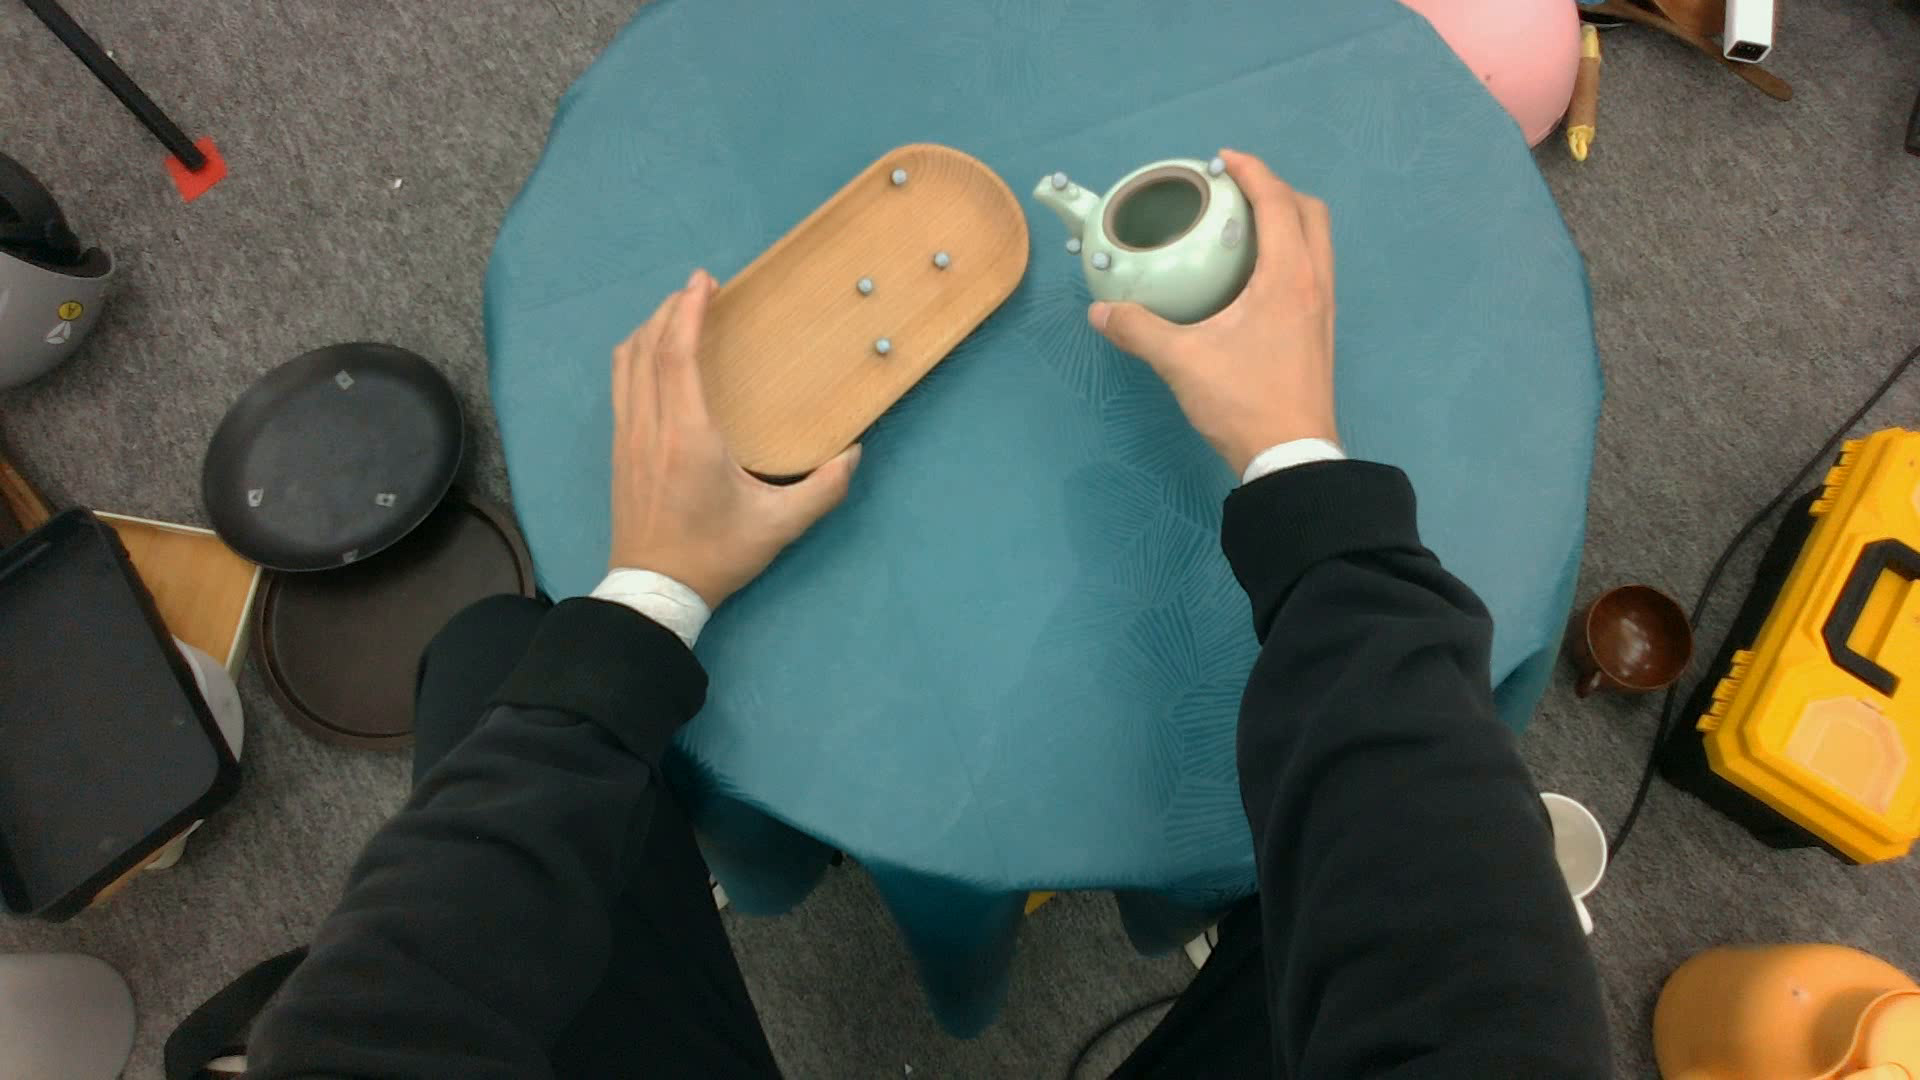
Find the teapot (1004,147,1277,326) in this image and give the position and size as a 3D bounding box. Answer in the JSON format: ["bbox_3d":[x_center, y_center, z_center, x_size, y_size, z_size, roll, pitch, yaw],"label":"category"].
[{"bbox_3d":[0.091,-0.149,0.675,0.143,0.074,0.088,19,72,37],"label":"teapot"}]

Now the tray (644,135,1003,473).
[{"bbox_3d":[-0.066,-0.126,0.715,0.101,0.020,0.232,44,67,-3],"label":"tray"}]
